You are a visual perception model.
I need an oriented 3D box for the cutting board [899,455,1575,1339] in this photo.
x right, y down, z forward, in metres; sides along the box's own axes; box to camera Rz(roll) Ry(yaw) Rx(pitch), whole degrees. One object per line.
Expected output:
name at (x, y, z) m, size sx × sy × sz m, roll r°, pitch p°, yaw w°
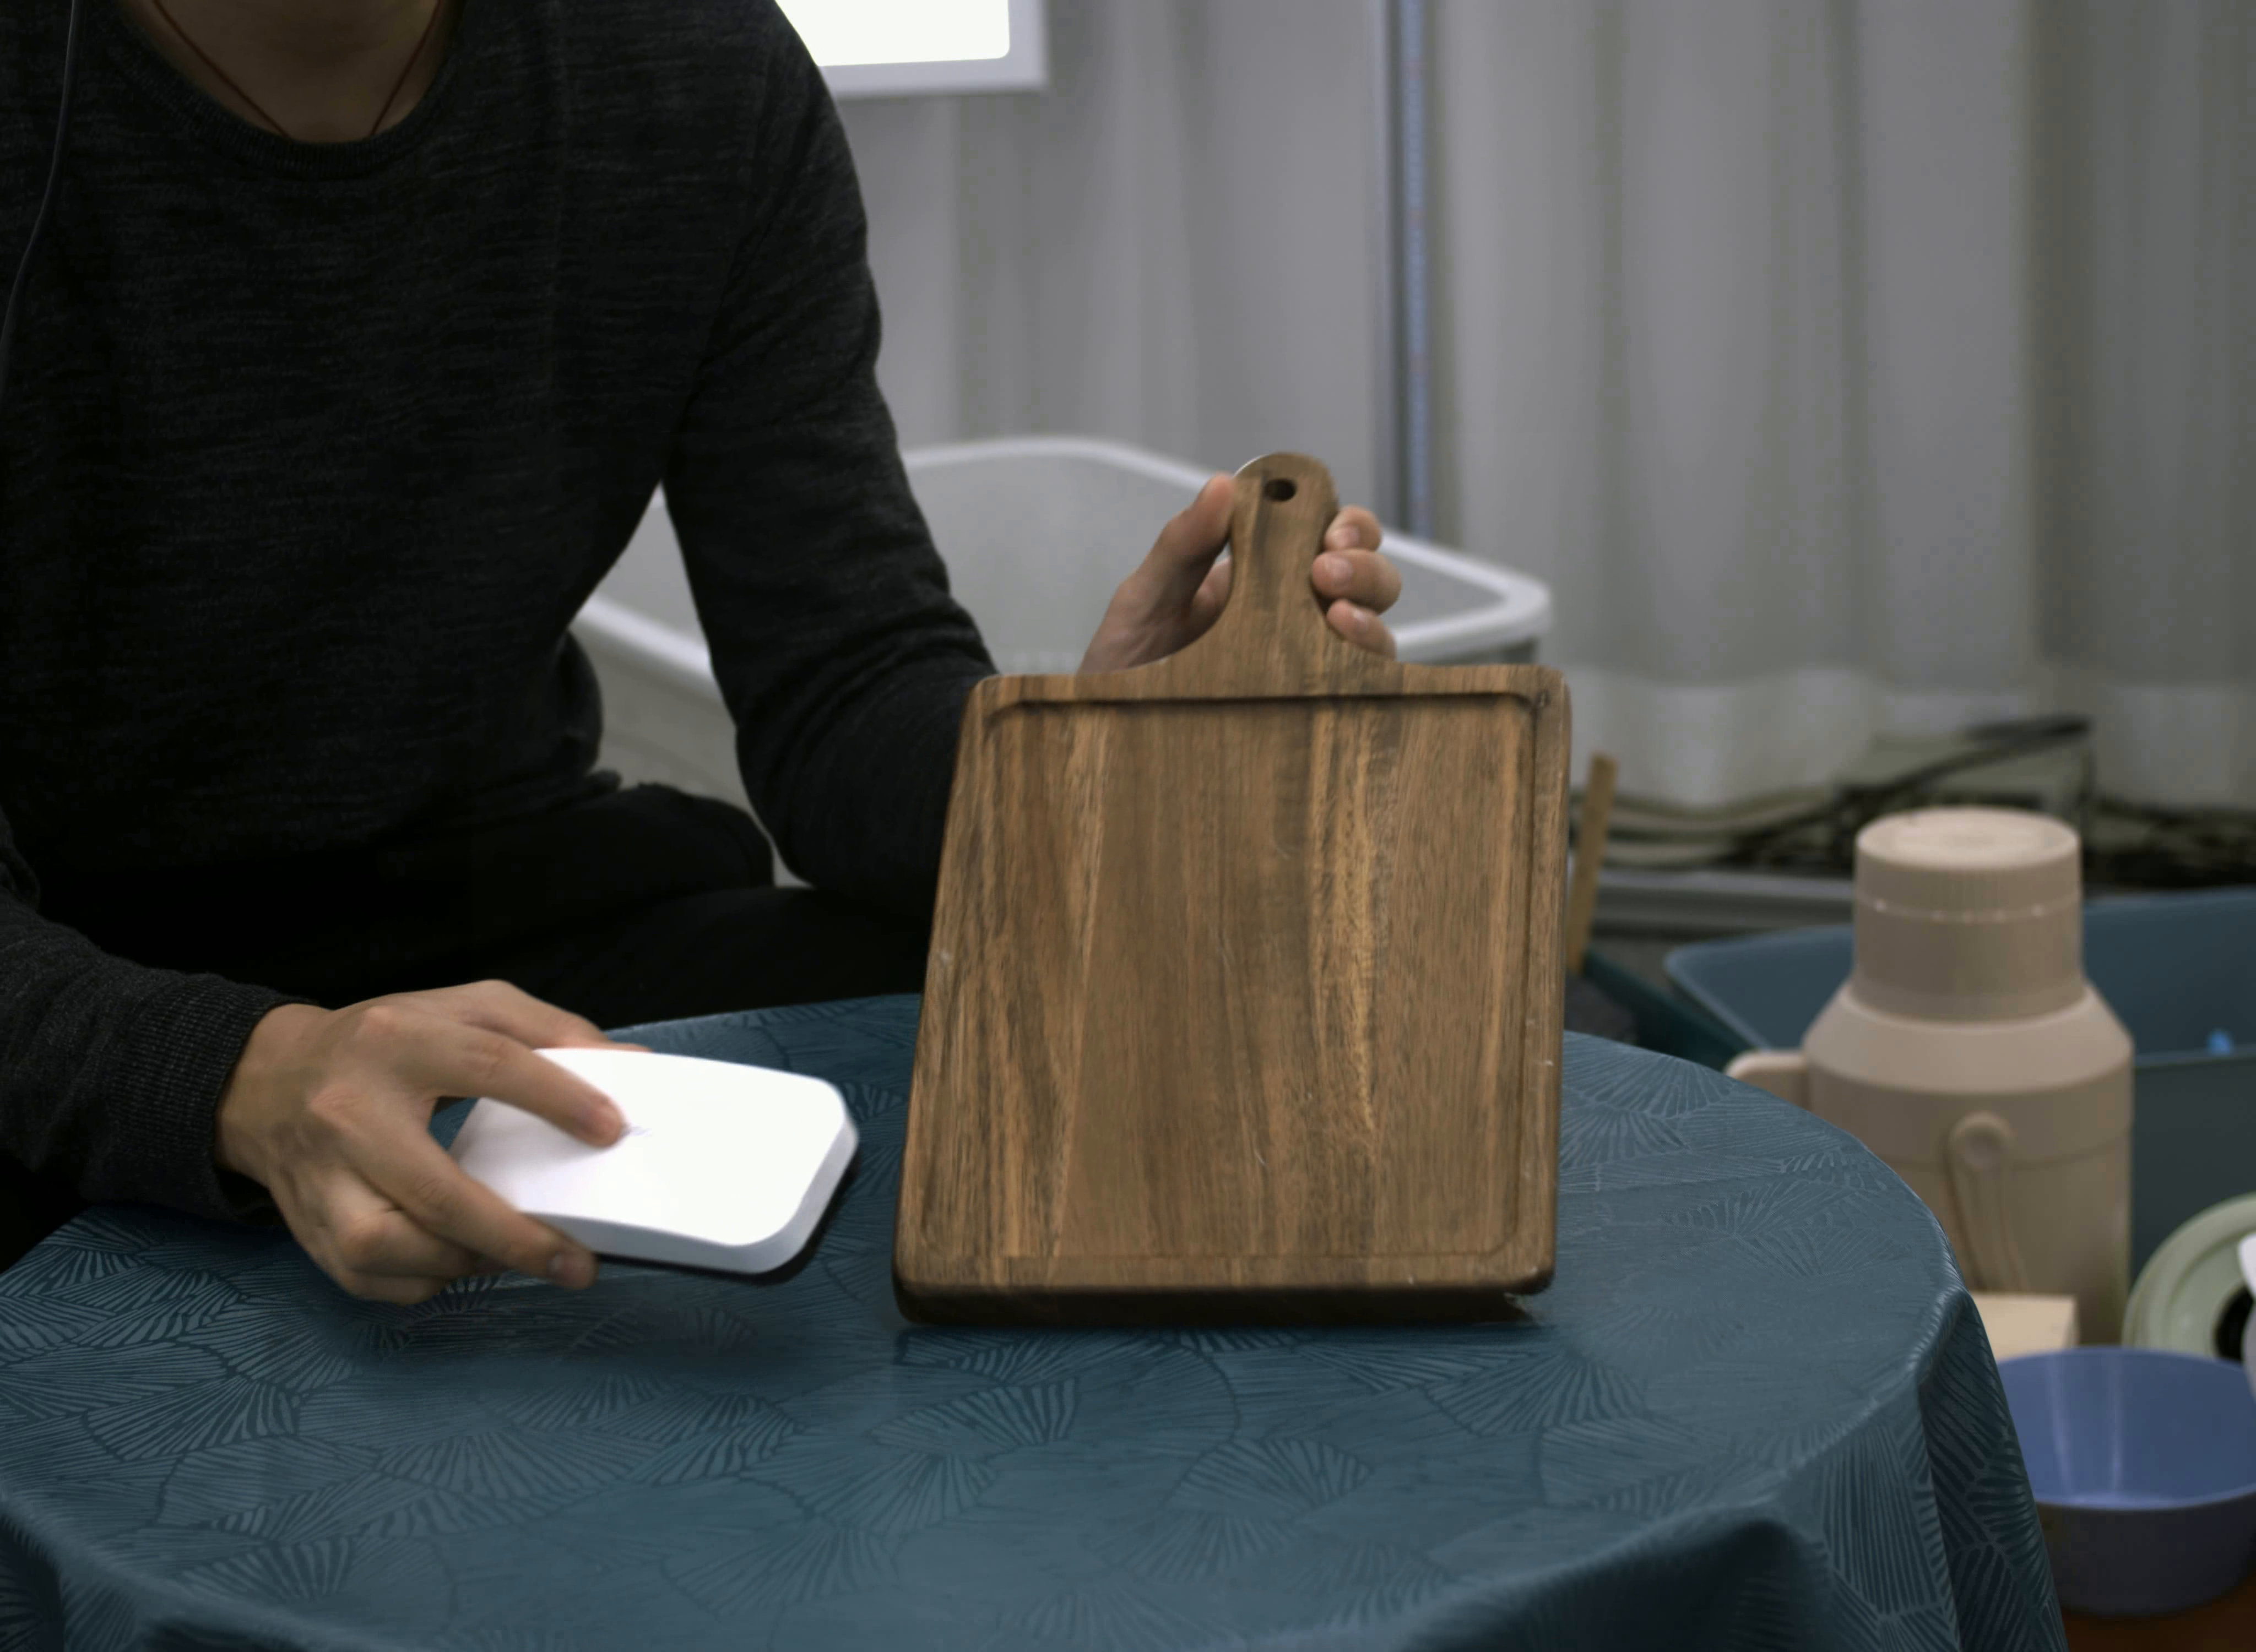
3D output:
cutting board at (0.039, 0.013, 1.701) m, size 0.200 × 0.023 × 0.357 m, roll -2°, pitch 46°, yaw 7°

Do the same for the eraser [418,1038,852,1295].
eraser at (-0.144, 0.099, 1.596) m, size 0.132 × 0.034 × 0.064 m, roll 6°, pitch 51°, yaw 33°
